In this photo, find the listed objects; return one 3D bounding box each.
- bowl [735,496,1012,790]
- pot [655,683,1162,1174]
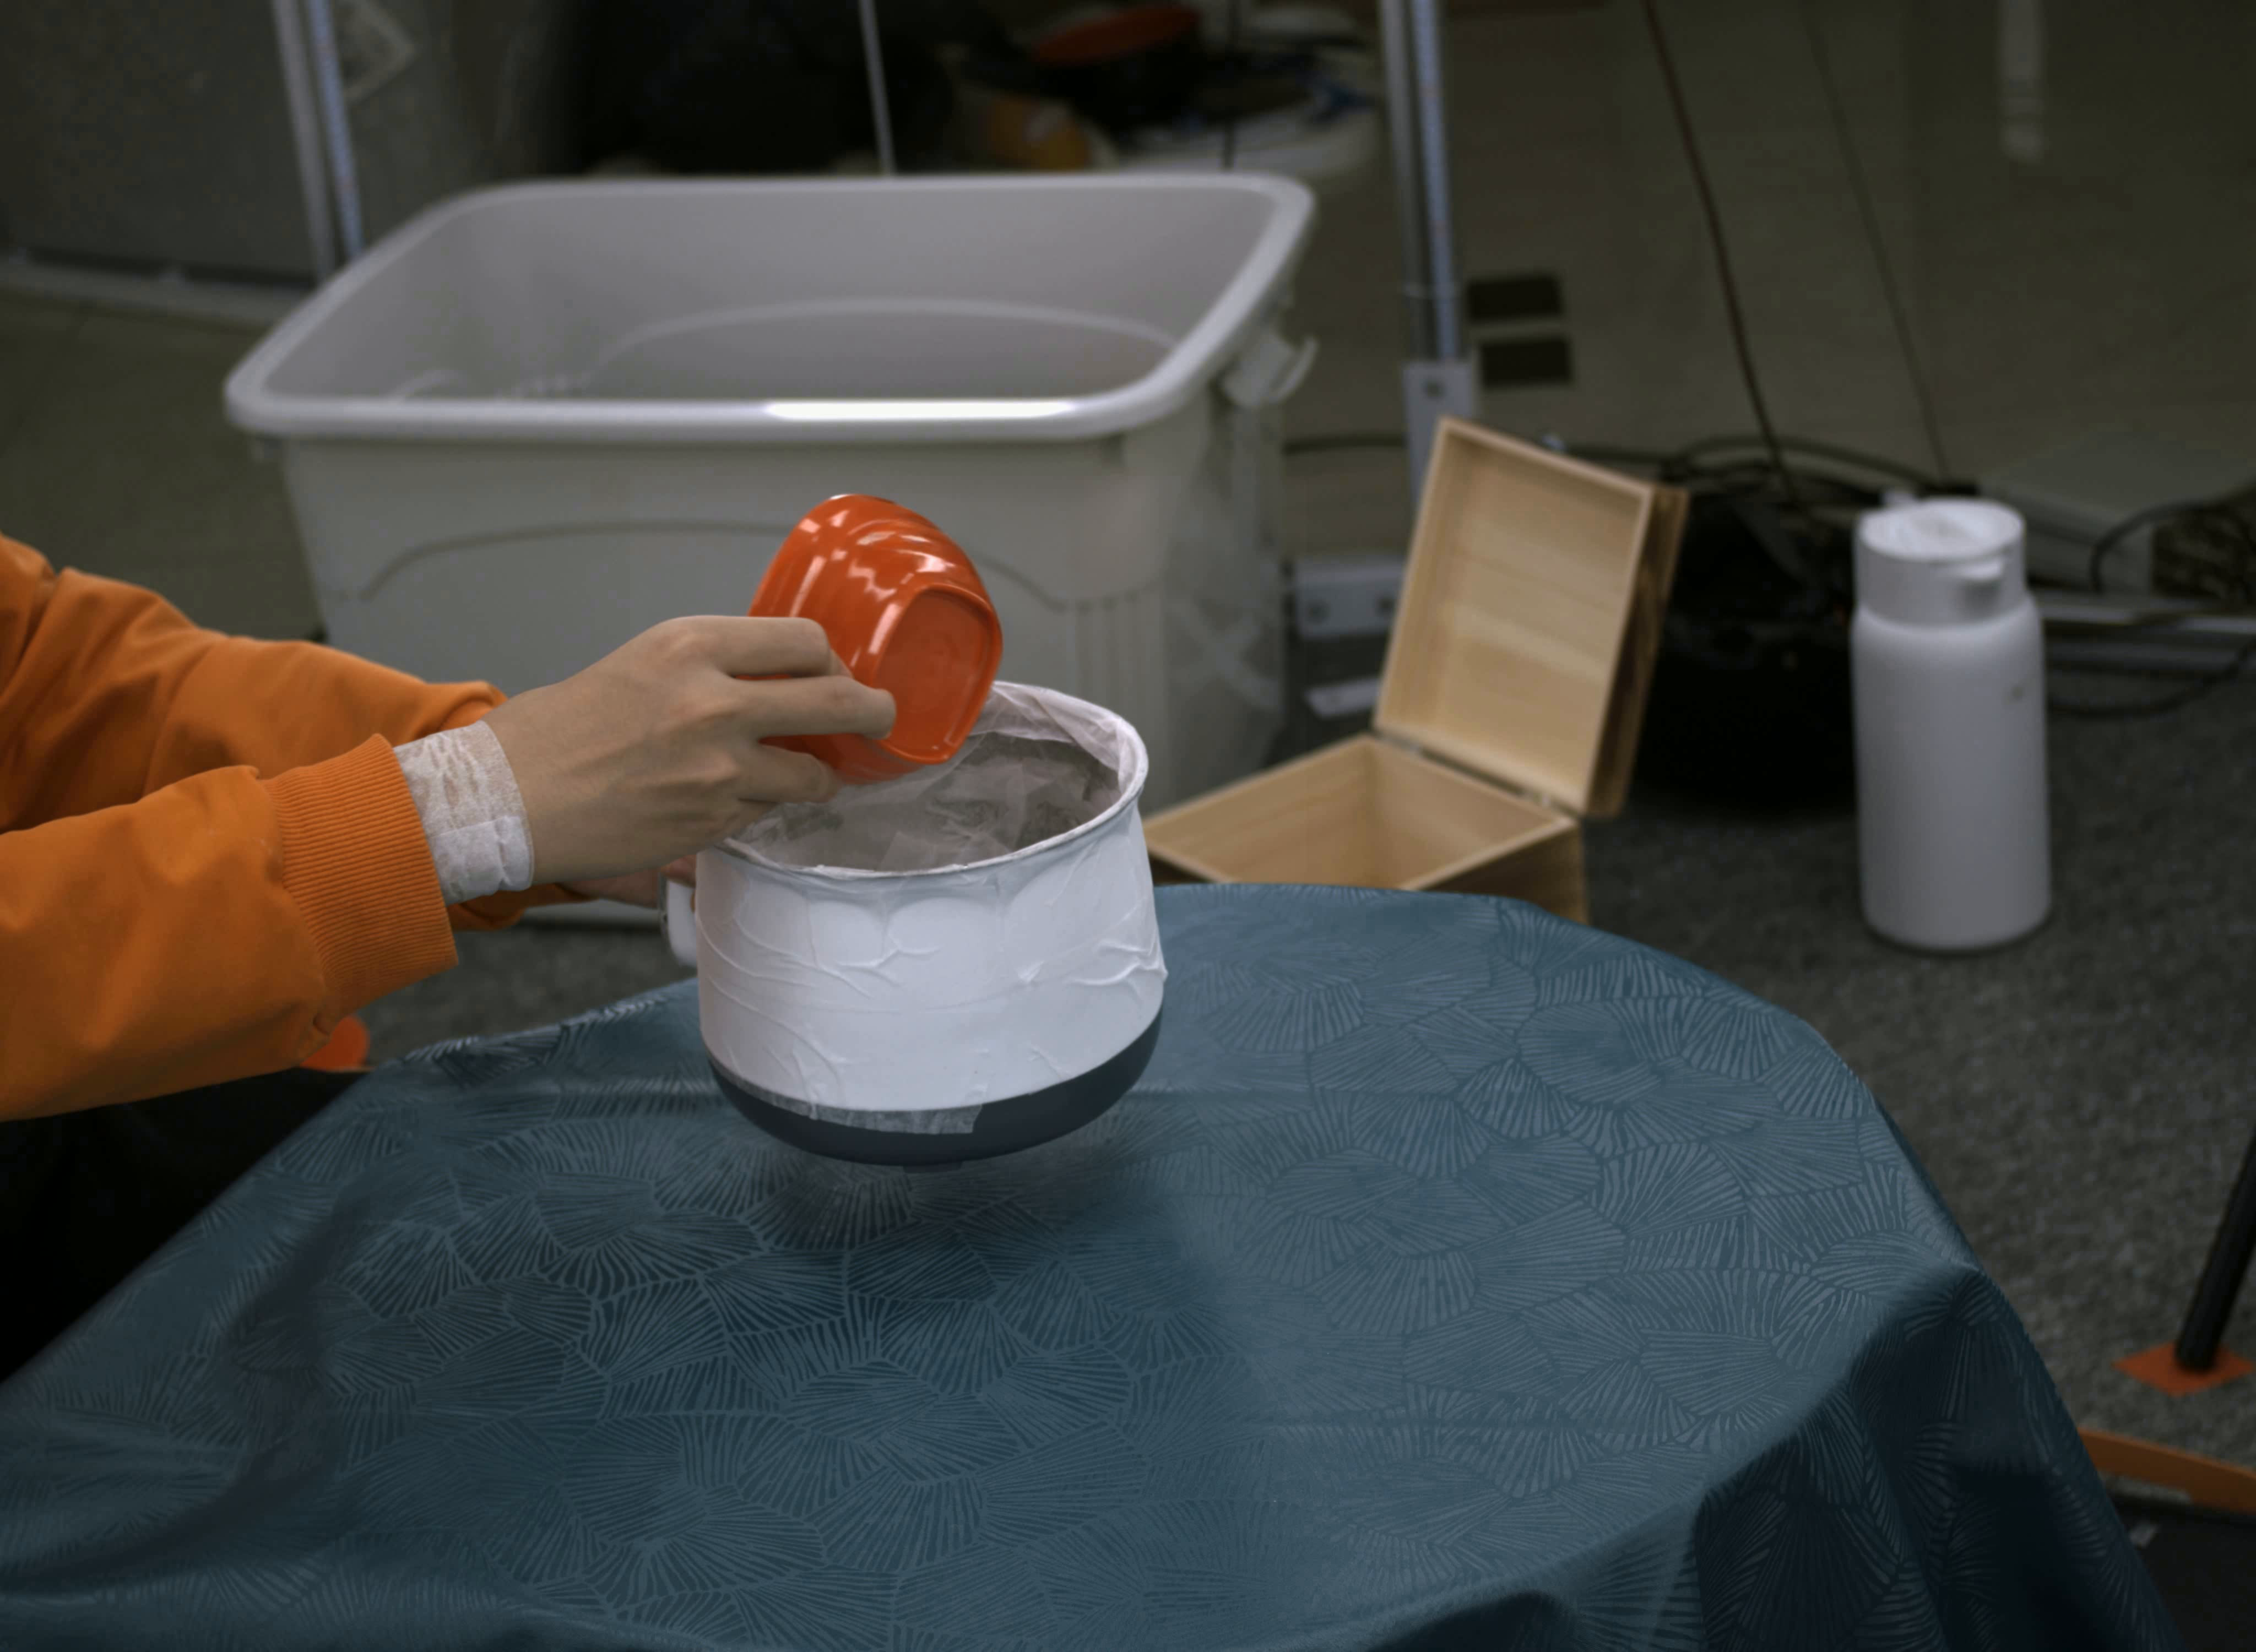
[{"bbox_3d":[-0.087,-0.062,2.107,0.051,0.121,0.118,24,38,36],"label":"bowl"},{"bbox_3d":[-0.097,0.032,2.154,0.232,0.139,0.177,19,33,40],"label":"pot"}]
